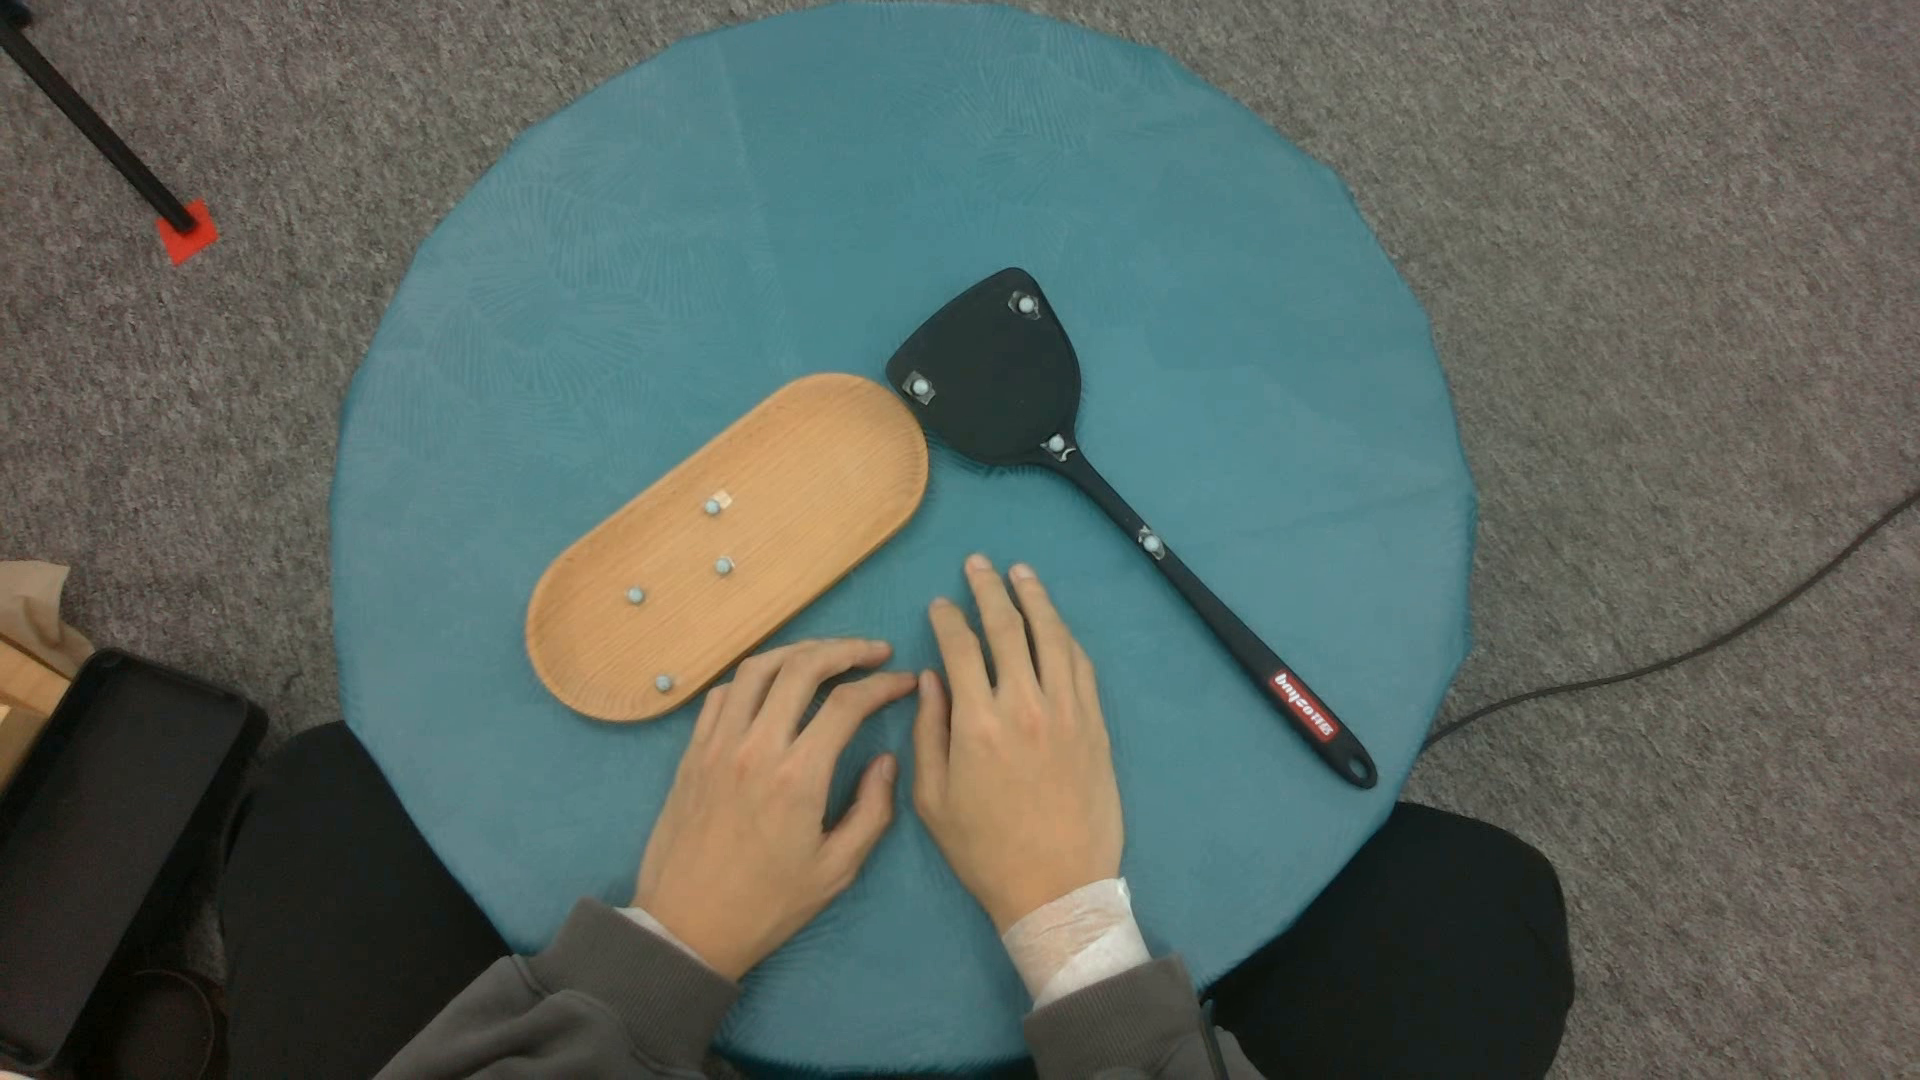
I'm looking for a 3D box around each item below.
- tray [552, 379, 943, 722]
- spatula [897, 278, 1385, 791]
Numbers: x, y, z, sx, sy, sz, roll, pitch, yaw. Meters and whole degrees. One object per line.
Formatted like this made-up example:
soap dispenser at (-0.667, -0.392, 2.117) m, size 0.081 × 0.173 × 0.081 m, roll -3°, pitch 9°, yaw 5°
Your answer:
tray at (-0.109, 0.003, 0.724) m, size 0.231 × 0.020 × 0.102 m, roll -39°, pitch 76°, yaw -13°
spatula at (0.103, 0.003, 0.714) m, size 0.100 × 0.040 × 0.326 m, roll -40°, pitch 76°, yaw -11°
